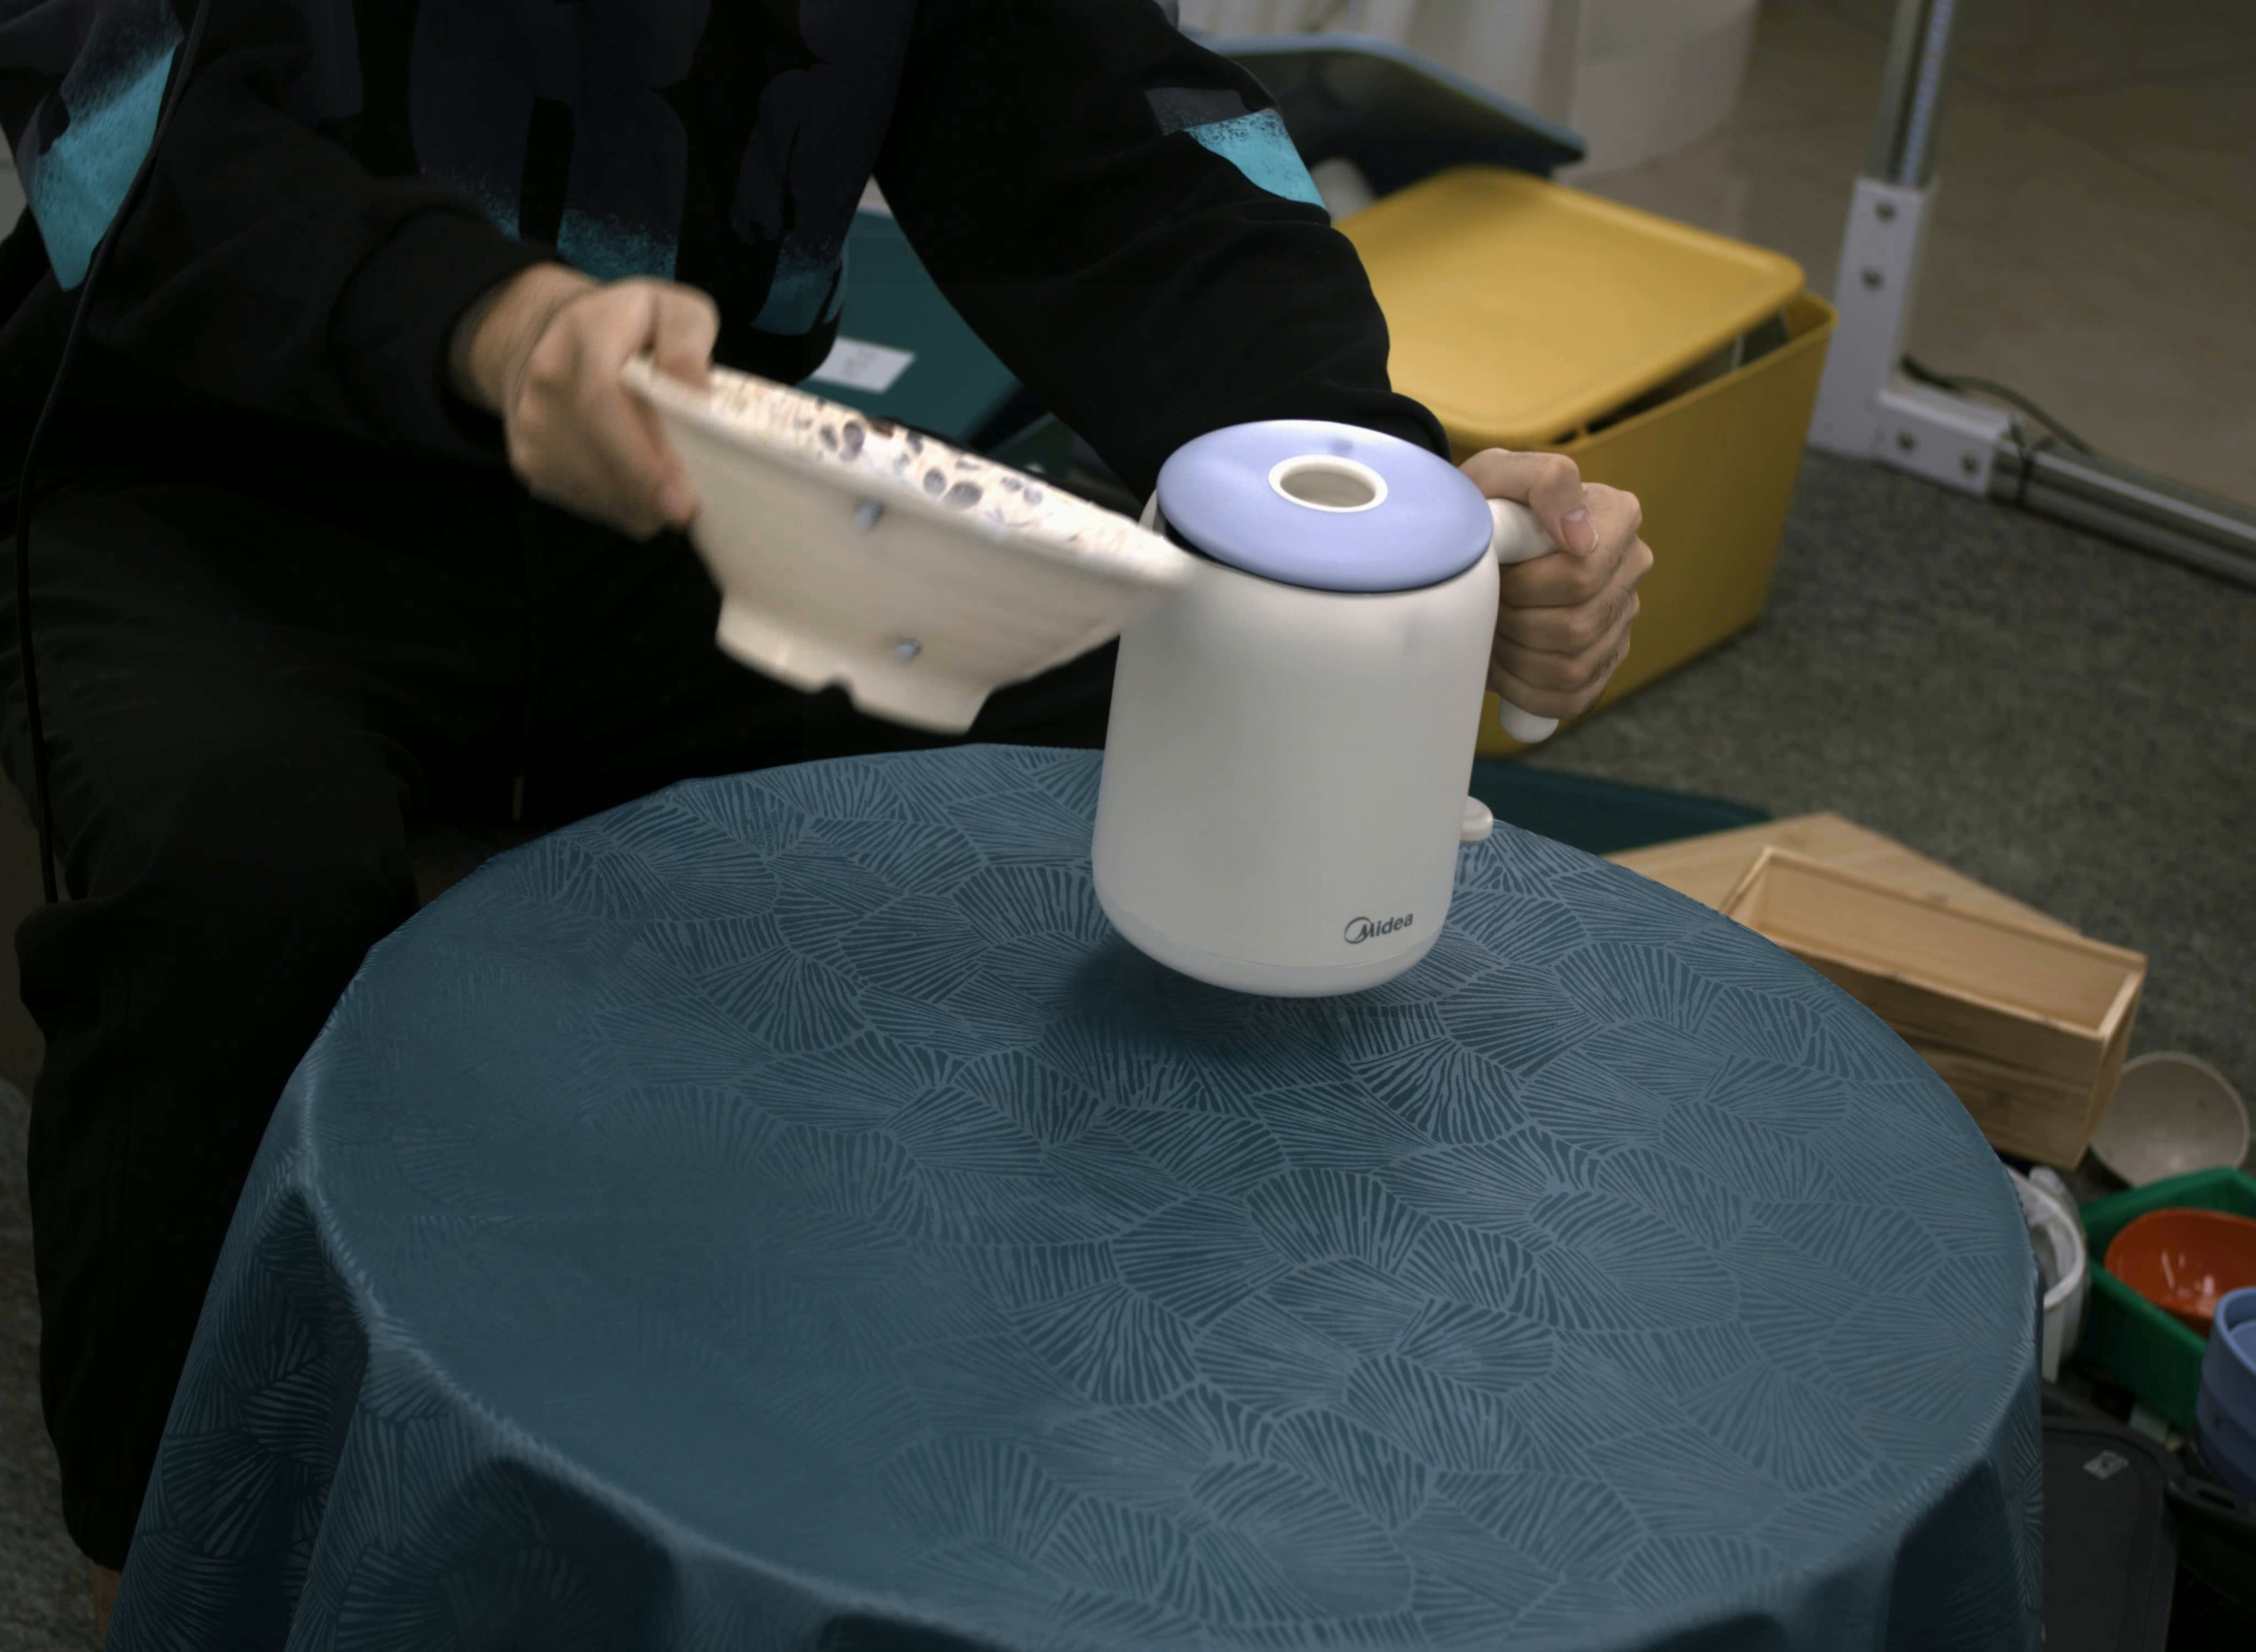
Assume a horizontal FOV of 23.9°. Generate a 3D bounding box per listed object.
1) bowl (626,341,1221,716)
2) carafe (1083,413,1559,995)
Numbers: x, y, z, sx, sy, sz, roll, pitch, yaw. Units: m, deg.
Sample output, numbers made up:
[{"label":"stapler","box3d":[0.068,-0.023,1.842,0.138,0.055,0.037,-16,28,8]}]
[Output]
[{"label":"bowl","box3d":[-0.077,-0.086,1.712,0.203,0.078,0.204,19,2,-1]},{"label":"carafe","box3d":[0.077,-0.048,1.898,0.190,0.182,0.133,-12,36,-34]}]
